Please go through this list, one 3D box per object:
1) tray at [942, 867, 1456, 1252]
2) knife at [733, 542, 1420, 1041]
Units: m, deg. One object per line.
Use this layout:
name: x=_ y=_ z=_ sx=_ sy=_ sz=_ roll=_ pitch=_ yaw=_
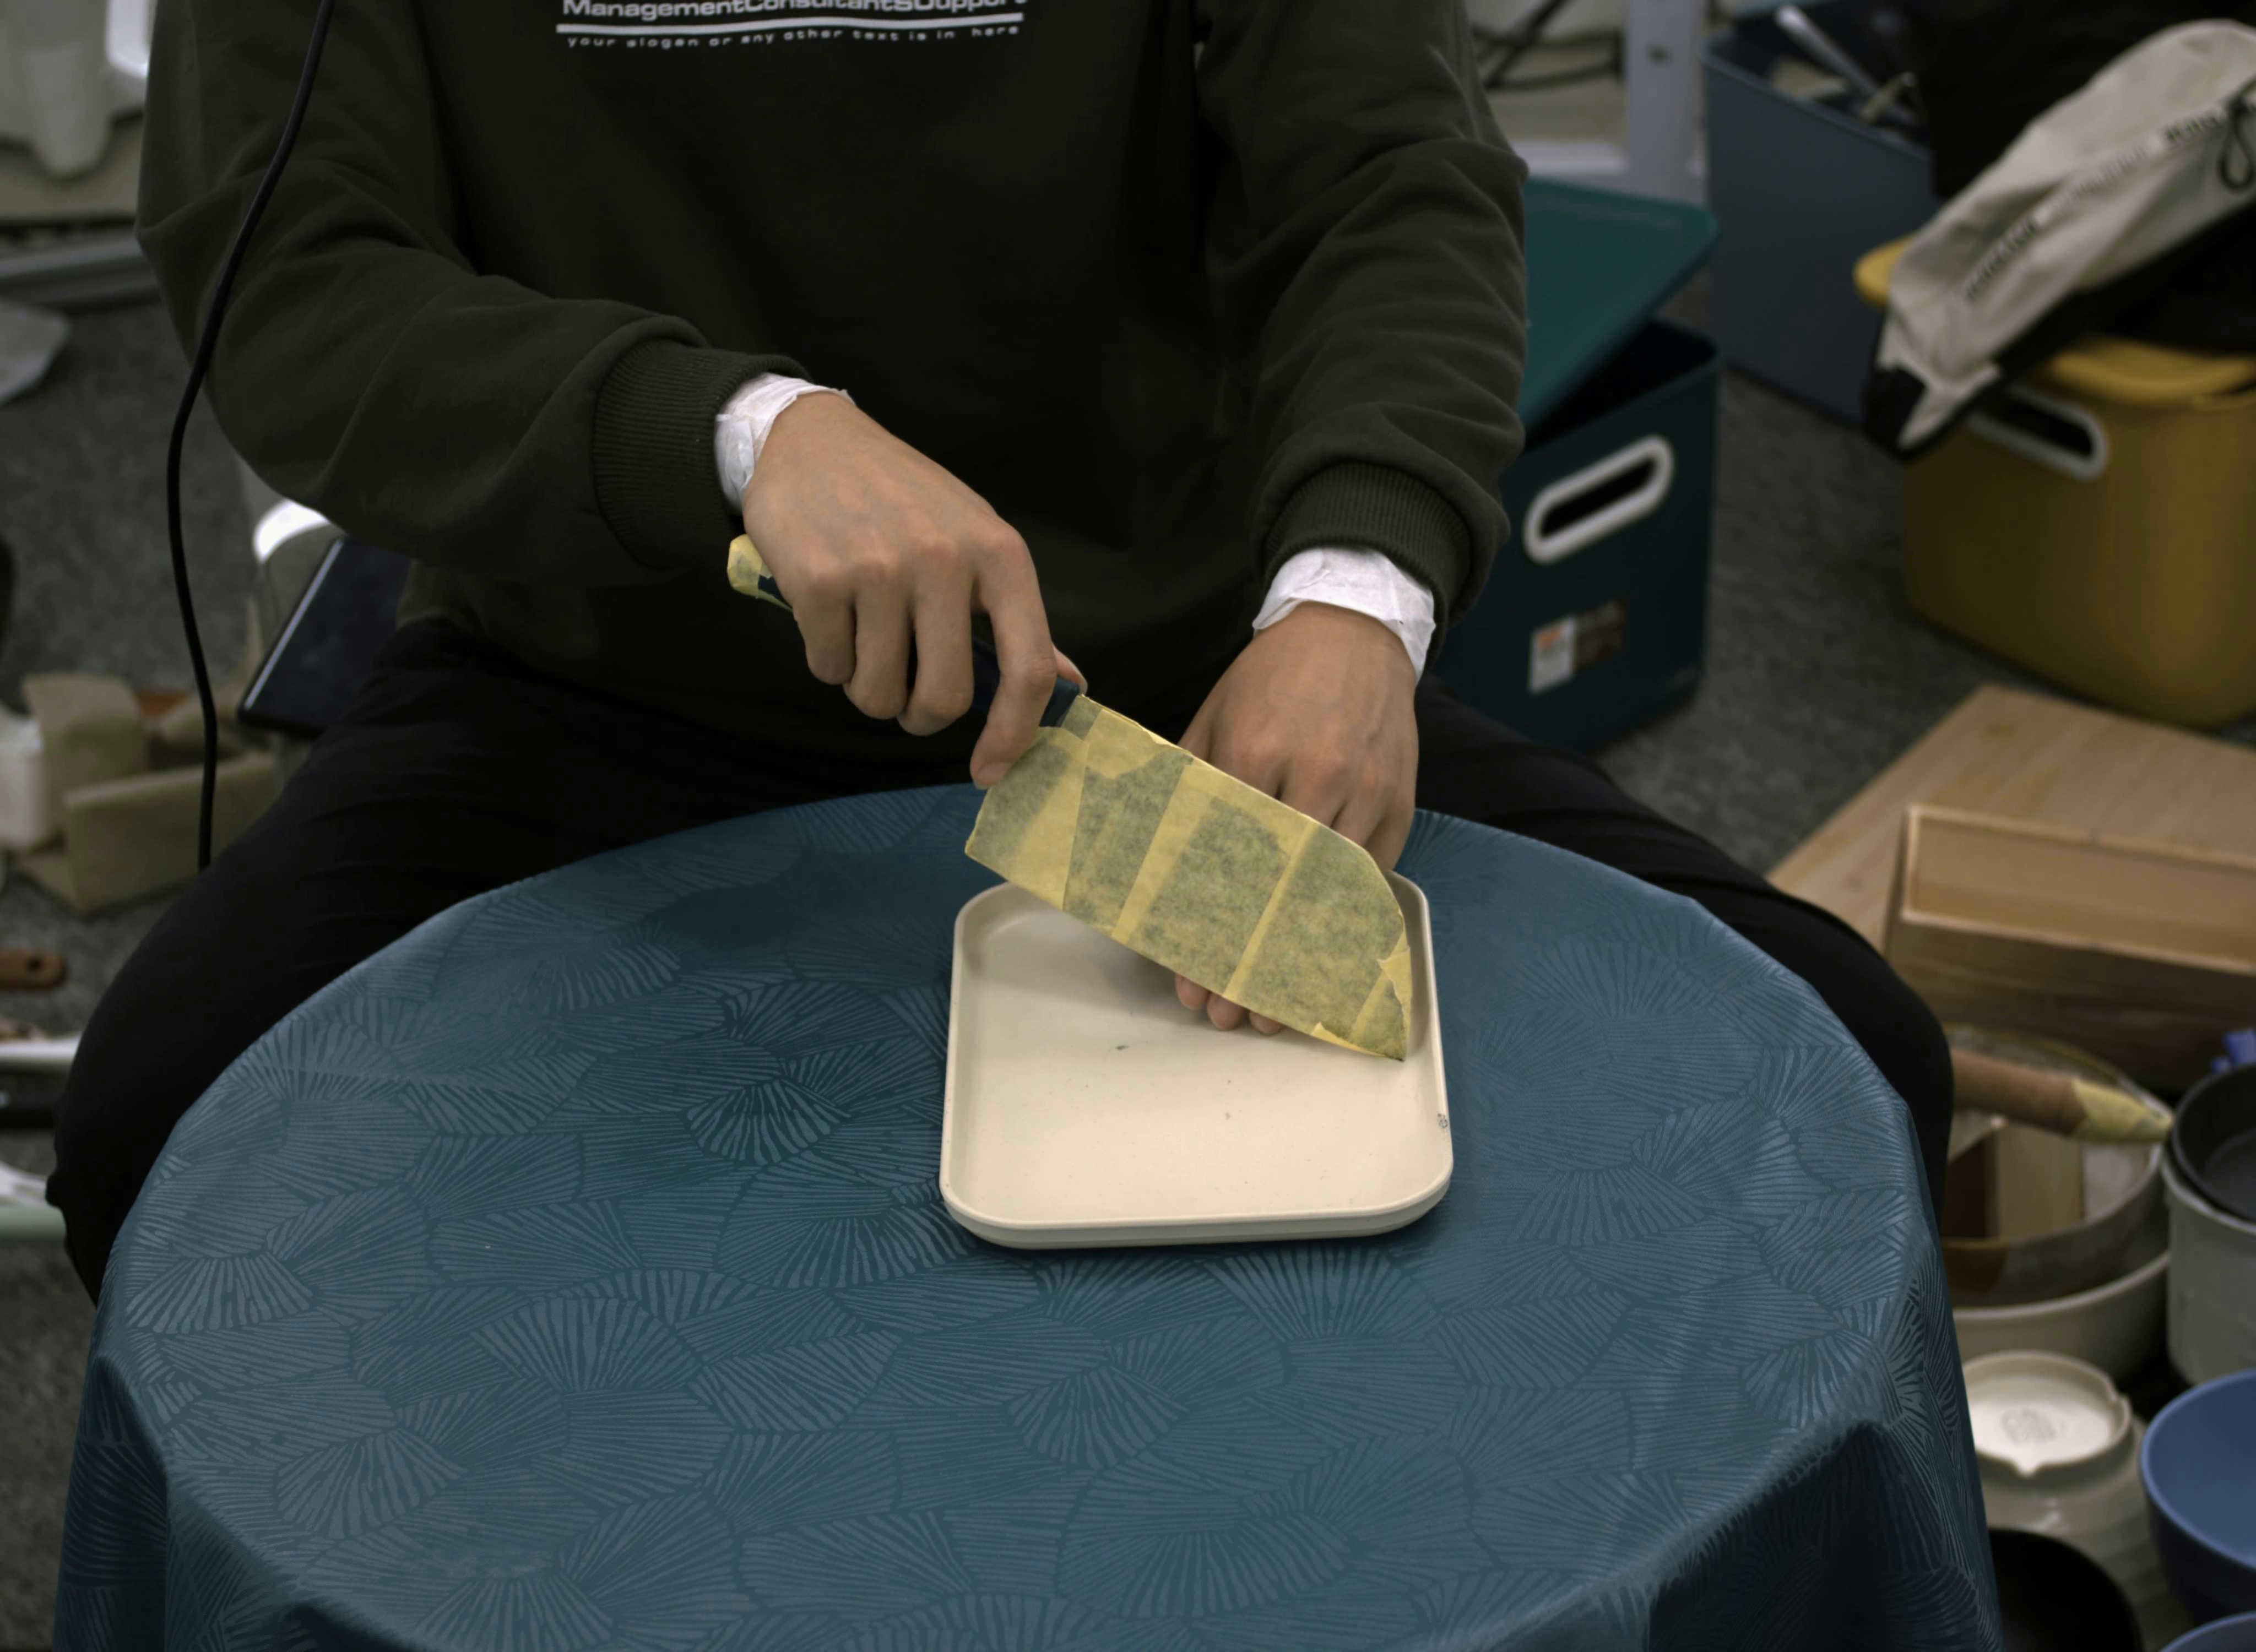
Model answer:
tray: x=0.023 y=0.079 z=1.923 sx=0.170 sy=0.017 sz=0.243 roll=-3 pitch=27 yaw=1
knife: x=-0.021 y=-0.012 z=1.948 sx=0.289 sy=0.080 sz=0.027 roll=32 pitch=13 yaw=12
